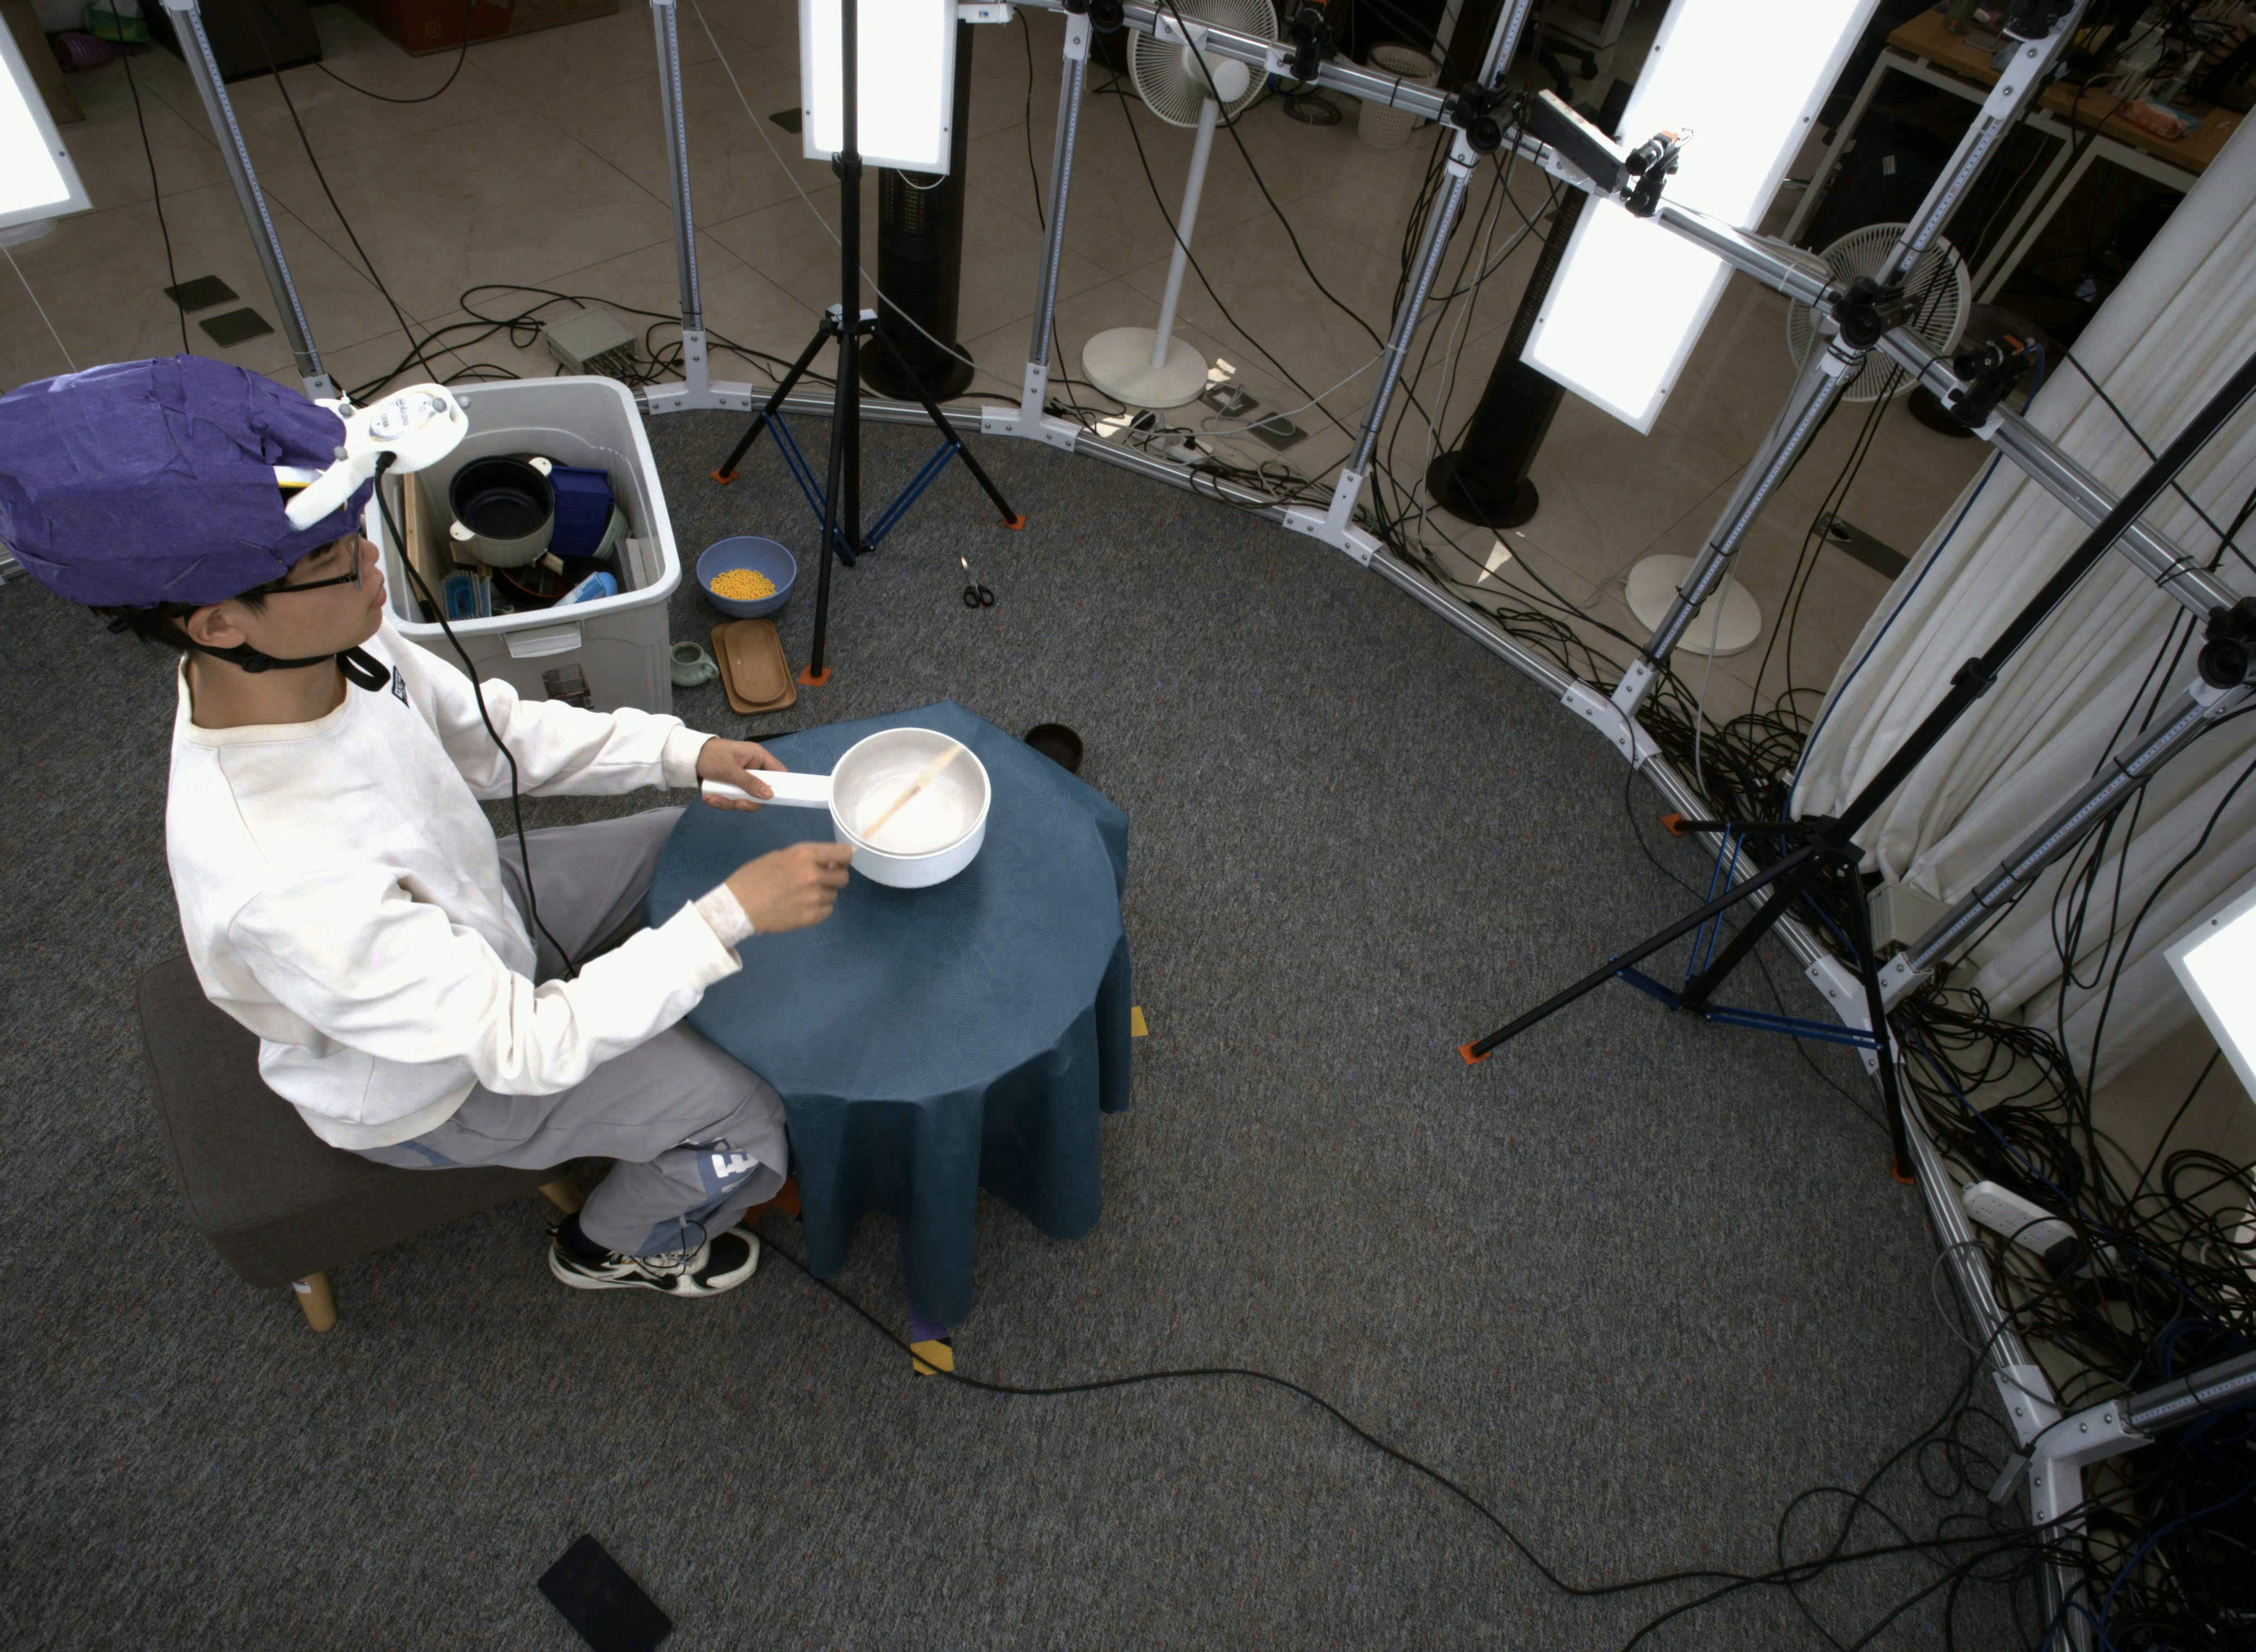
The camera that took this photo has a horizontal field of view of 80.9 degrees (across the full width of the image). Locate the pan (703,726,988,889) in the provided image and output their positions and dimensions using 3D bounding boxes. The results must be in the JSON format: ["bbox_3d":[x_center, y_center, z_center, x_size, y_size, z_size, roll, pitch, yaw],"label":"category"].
[{"bbox_3d":[-0.357,-0.025,1.662,0.353,0.104,0.198,4,57,-7],"label":"pan"}]

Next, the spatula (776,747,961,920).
[{"bbox_3d":[-0.291,0.006,1.461,0.011,0.071,0.292,51,55,-13],"label":"spatula"}]
